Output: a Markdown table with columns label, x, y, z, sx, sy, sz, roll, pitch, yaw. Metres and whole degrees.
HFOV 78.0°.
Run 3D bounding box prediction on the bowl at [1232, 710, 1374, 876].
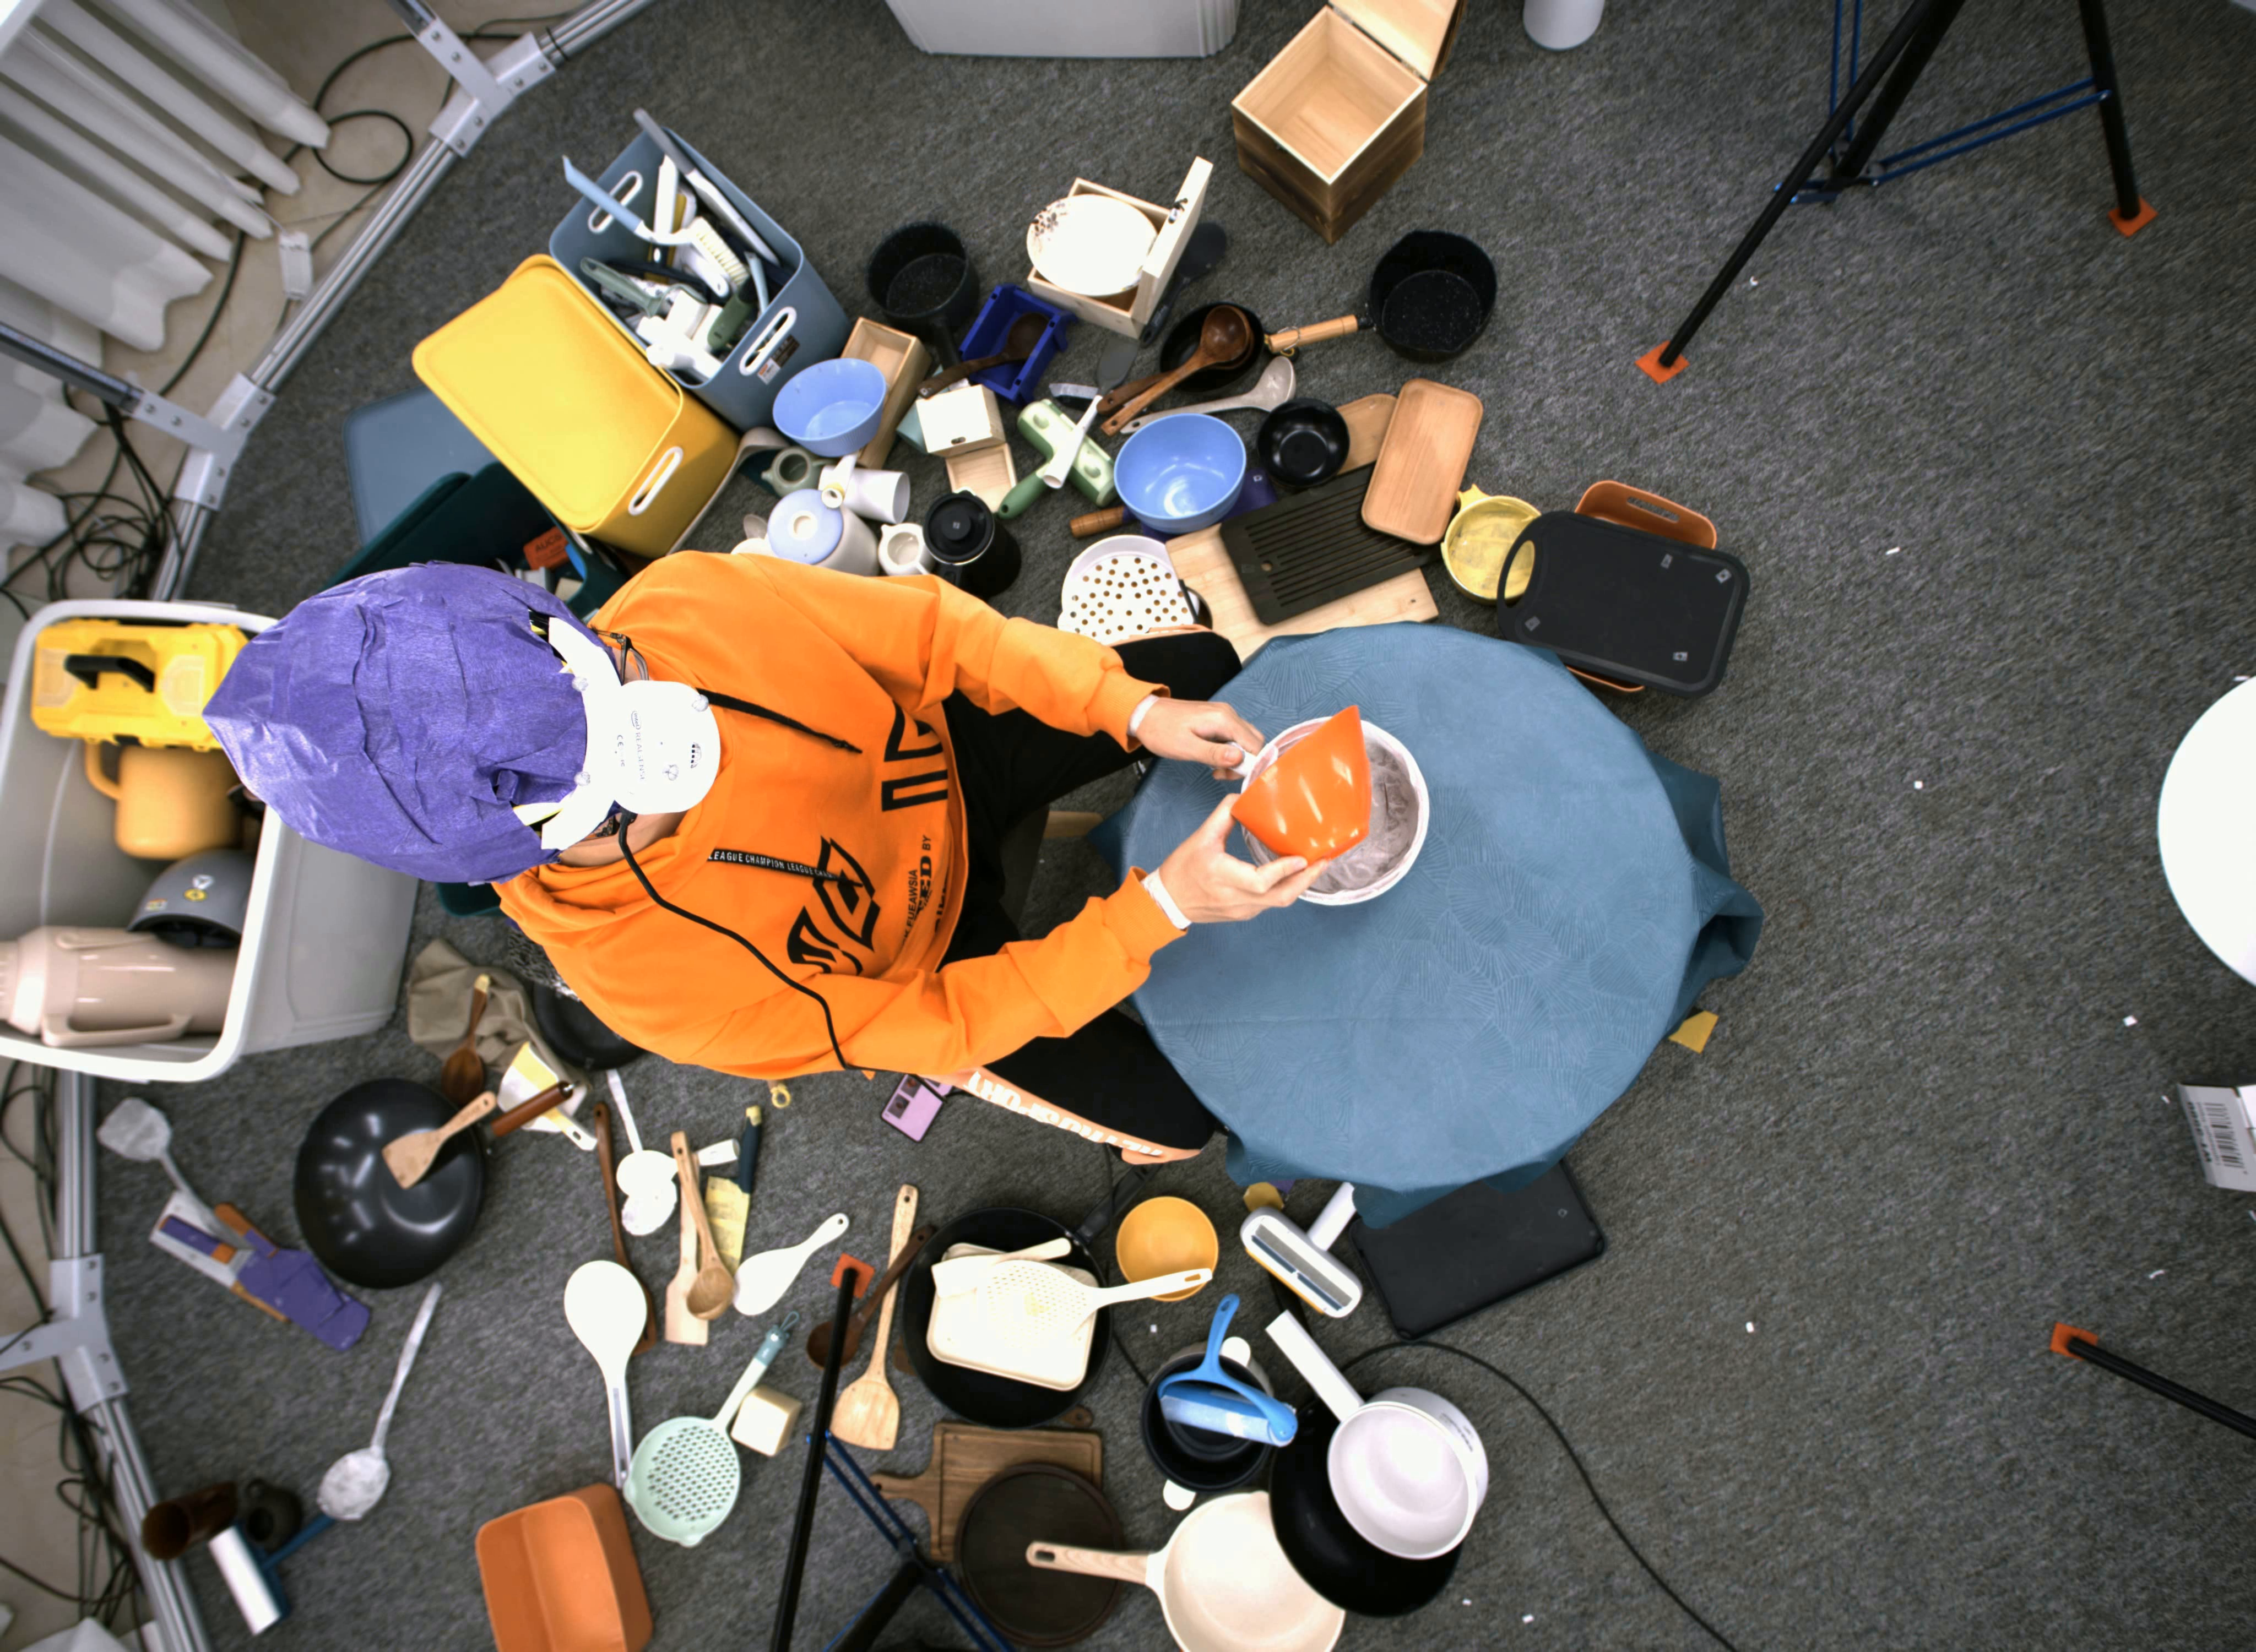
| label | x | y | z | sx | sy | sz | roll | pitch | yaw |
| --- | --- | --- | --- | --- | --- | --- | --- | --- | --- |
| bowl | 0.172 | -0.022 | 1.232 | 0.149 | 0.148 | 0.104 | -32 | 80 | 6 |

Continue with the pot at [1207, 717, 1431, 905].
| label | x | y | z | sx | sy | sz | roll | pitch | yaw |
| --- | --- | --- | --- | --- | --- | --- | --- | --- | --- |
| pot | 0.180 | -0.025 | 1.359 | 0.233 | 0.136 | 0.179 | 28 | 94 | 11 |
